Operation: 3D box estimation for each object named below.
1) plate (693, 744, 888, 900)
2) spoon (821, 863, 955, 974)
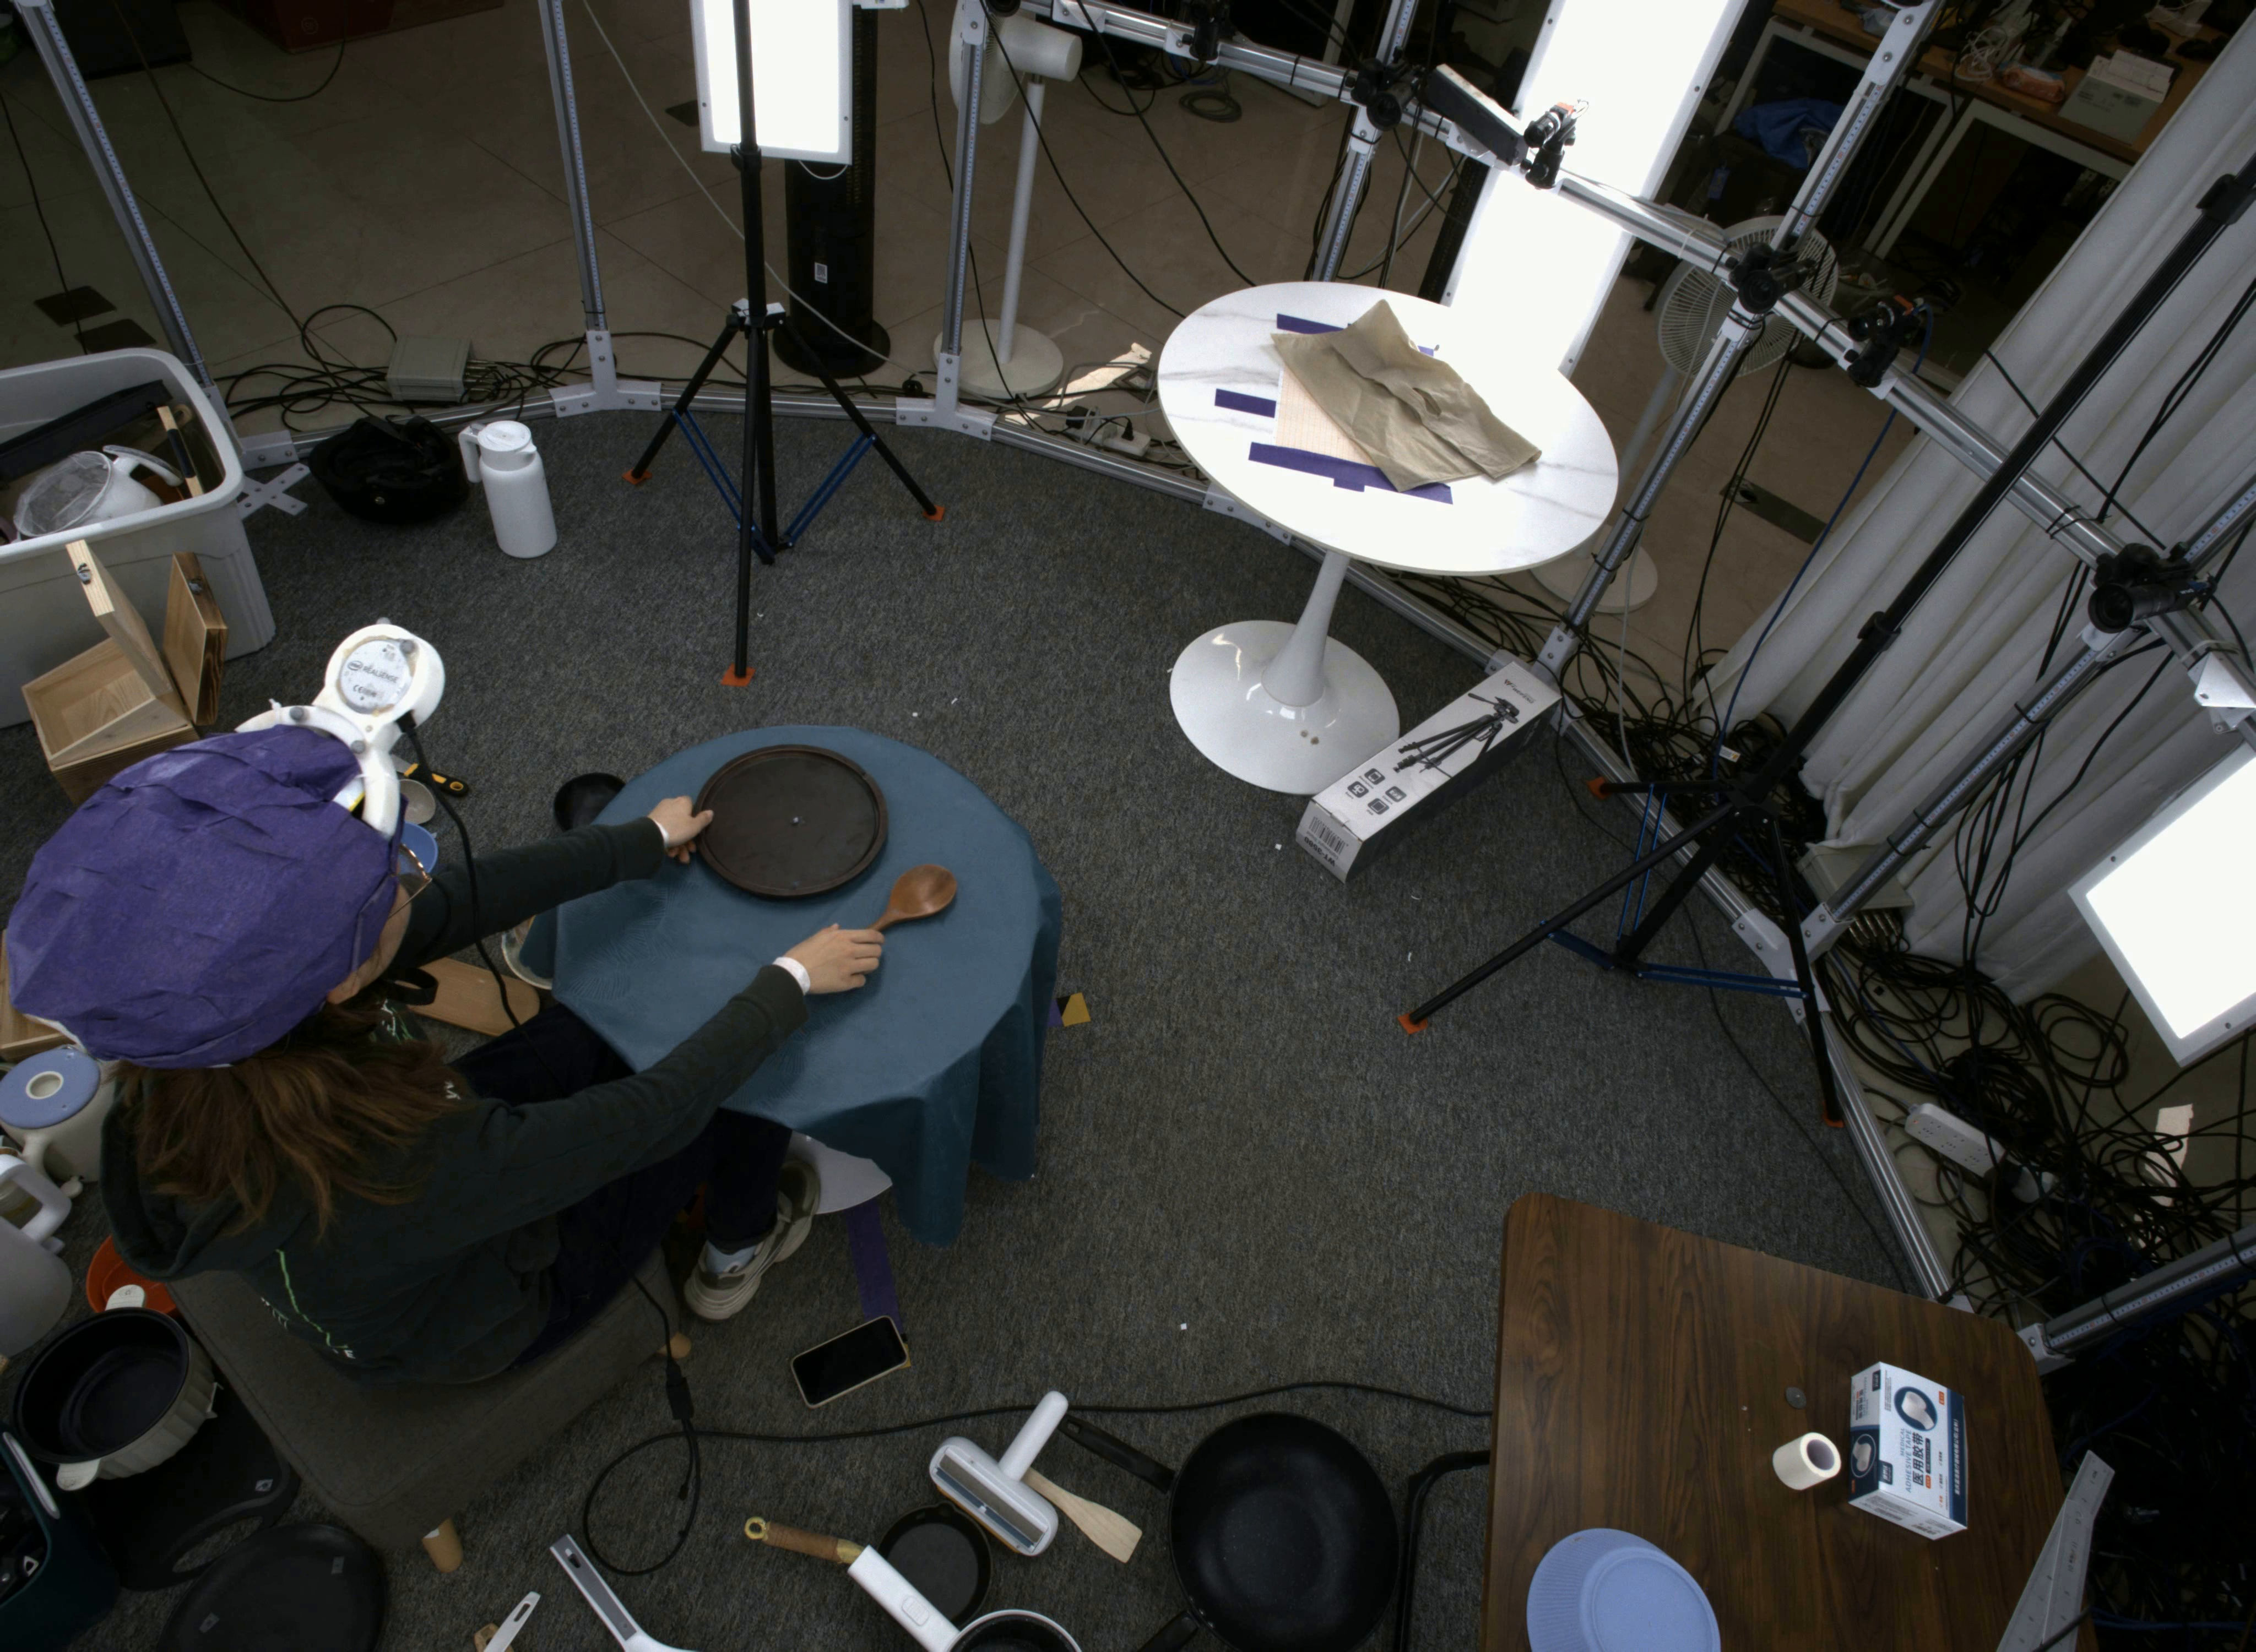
[{"bbox_3d":[-0.446,-0.008,1.715,0.254,0.029,0.250,8,51,-8],"label":"plate"},{"bbox_3d":[-0.308,0.118,1.660,0.074,0.017,0.216,39,54,15],"label":"spoon"}]
